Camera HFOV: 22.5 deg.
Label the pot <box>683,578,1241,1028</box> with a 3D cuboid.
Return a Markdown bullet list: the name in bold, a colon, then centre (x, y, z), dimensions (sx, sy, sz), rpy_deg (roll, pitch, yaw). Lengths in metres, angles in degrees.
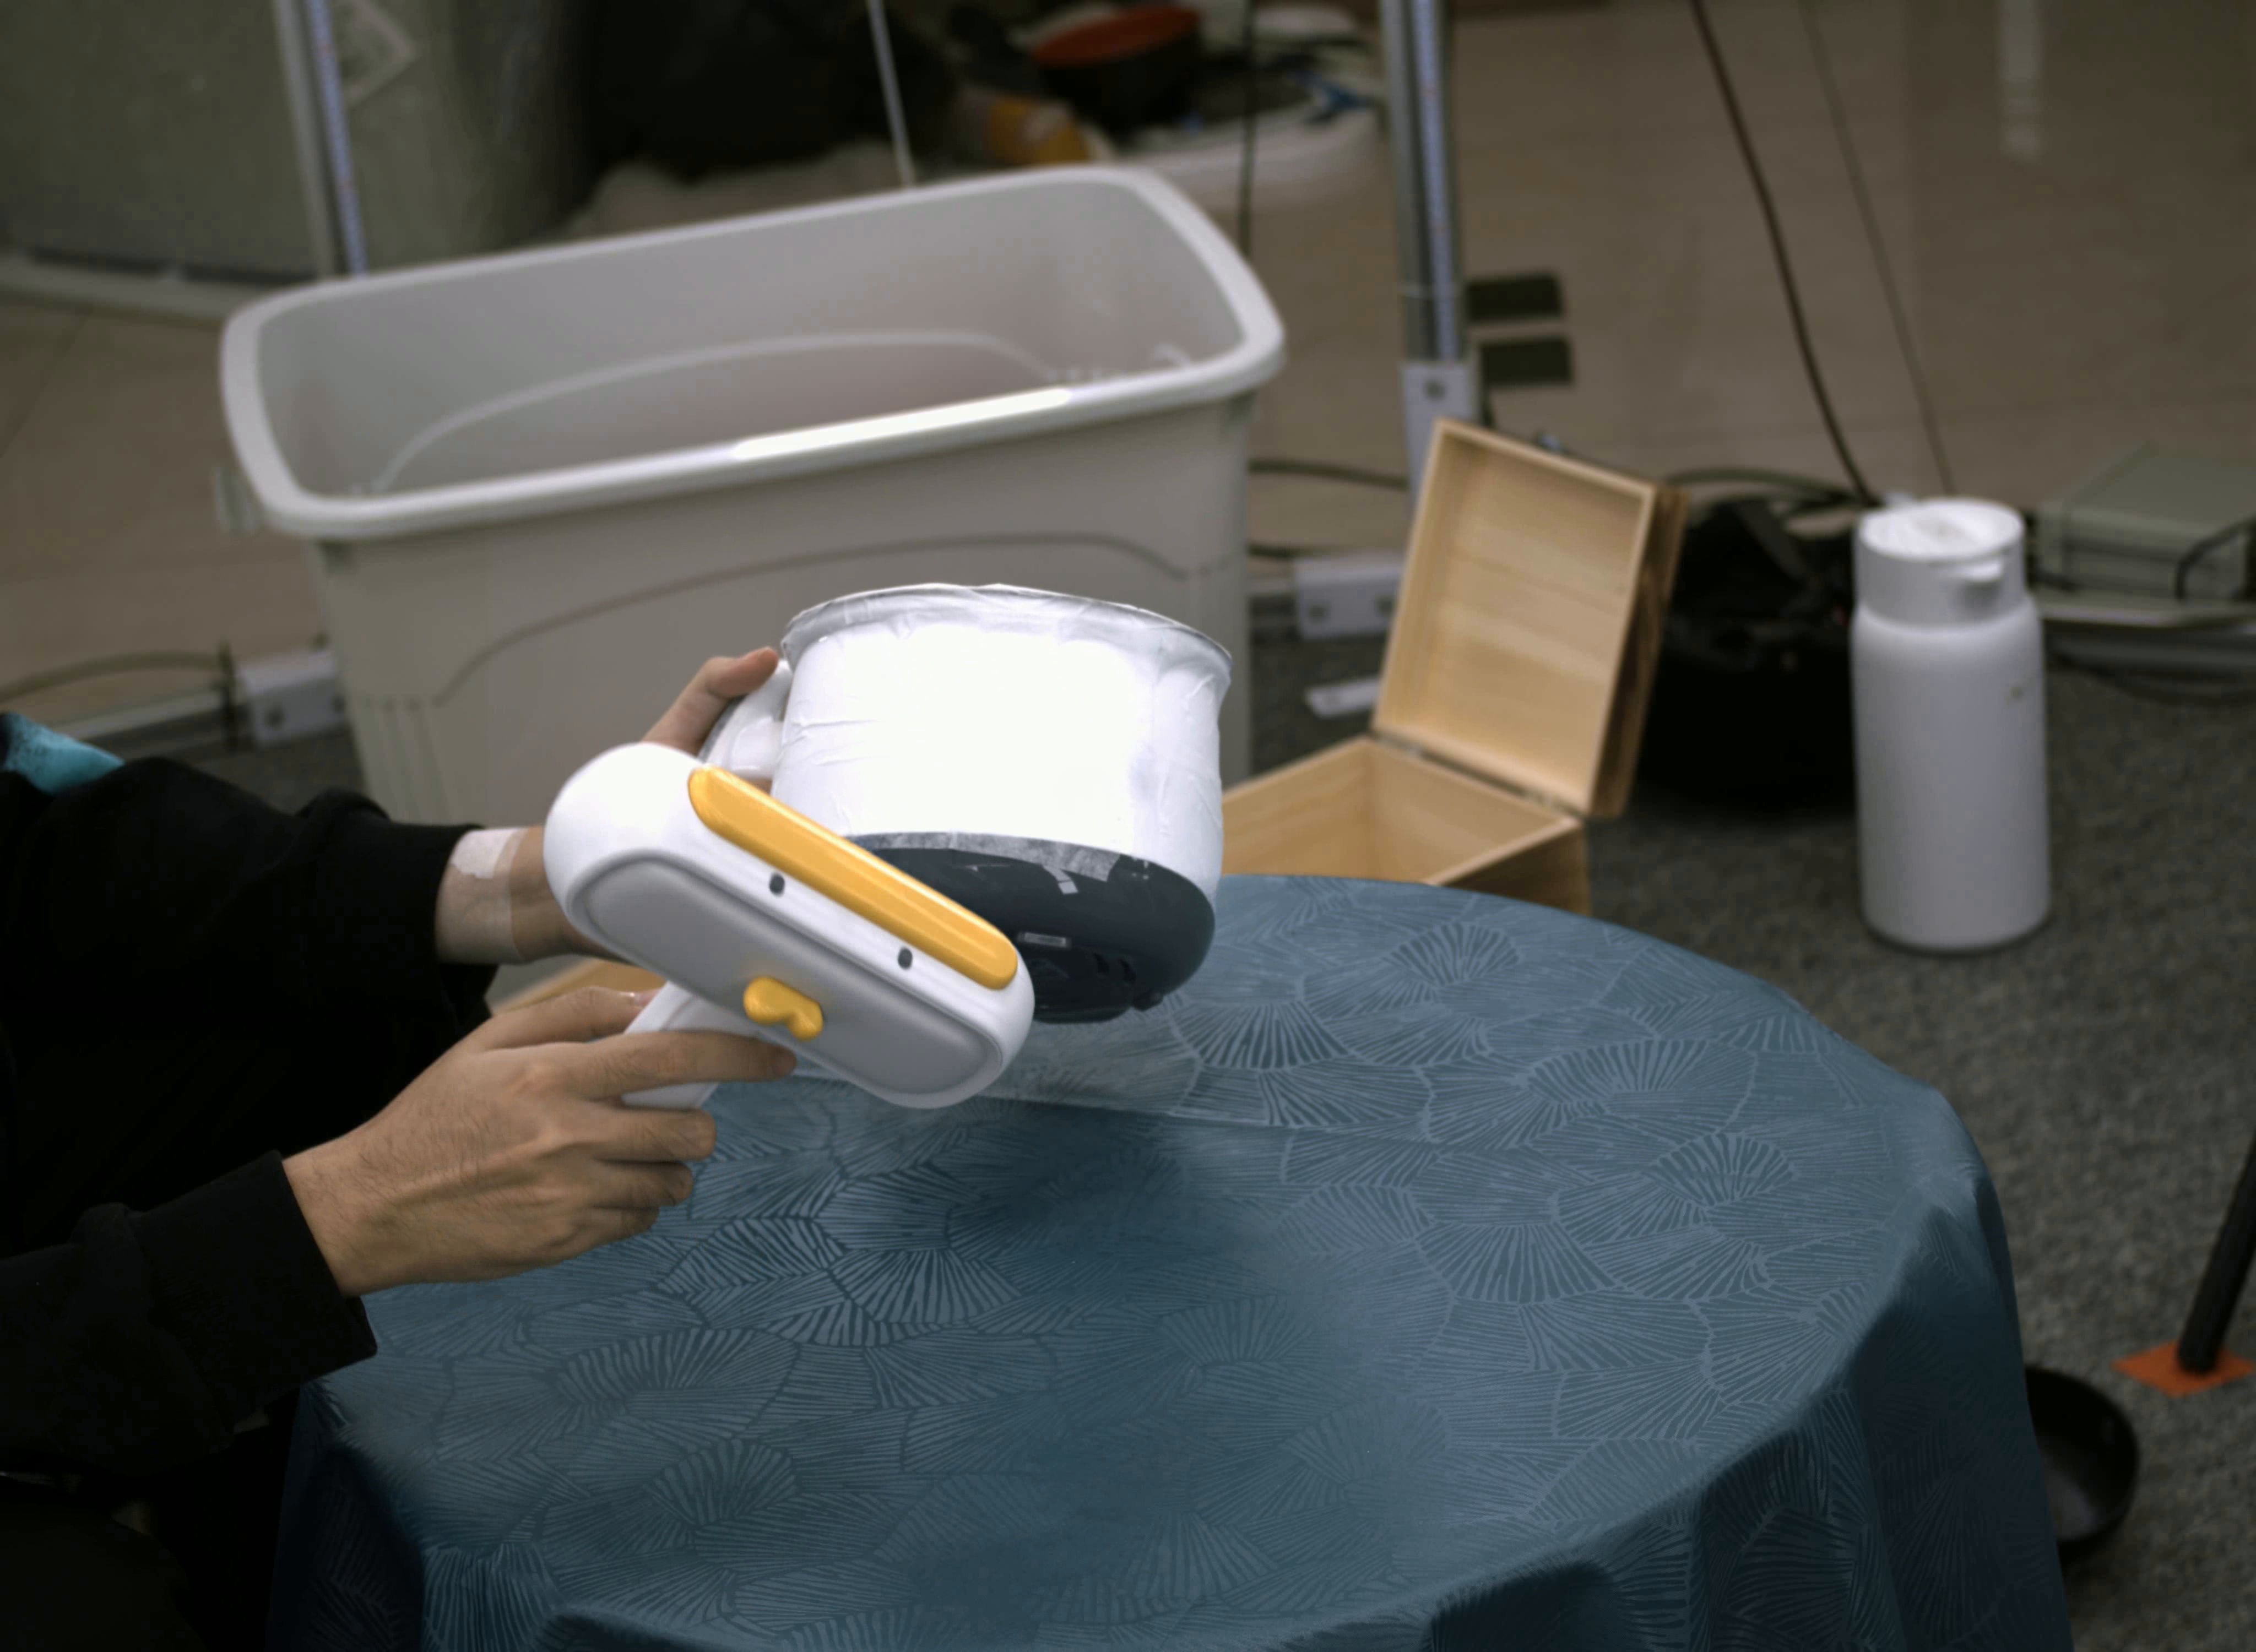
- **pot**: centre (-0.075, -0.006, 2.193), dimensions (0.233, 0.135, 0.180), rpy_deg (-2, -17, 24)

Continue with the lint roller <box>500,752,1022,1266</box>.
- **lint roller**: centre (-0.156, 0.075, 1.963), dimensions (0.194, 0.194, 0.073), rpy_deg (23, 37, -34)
